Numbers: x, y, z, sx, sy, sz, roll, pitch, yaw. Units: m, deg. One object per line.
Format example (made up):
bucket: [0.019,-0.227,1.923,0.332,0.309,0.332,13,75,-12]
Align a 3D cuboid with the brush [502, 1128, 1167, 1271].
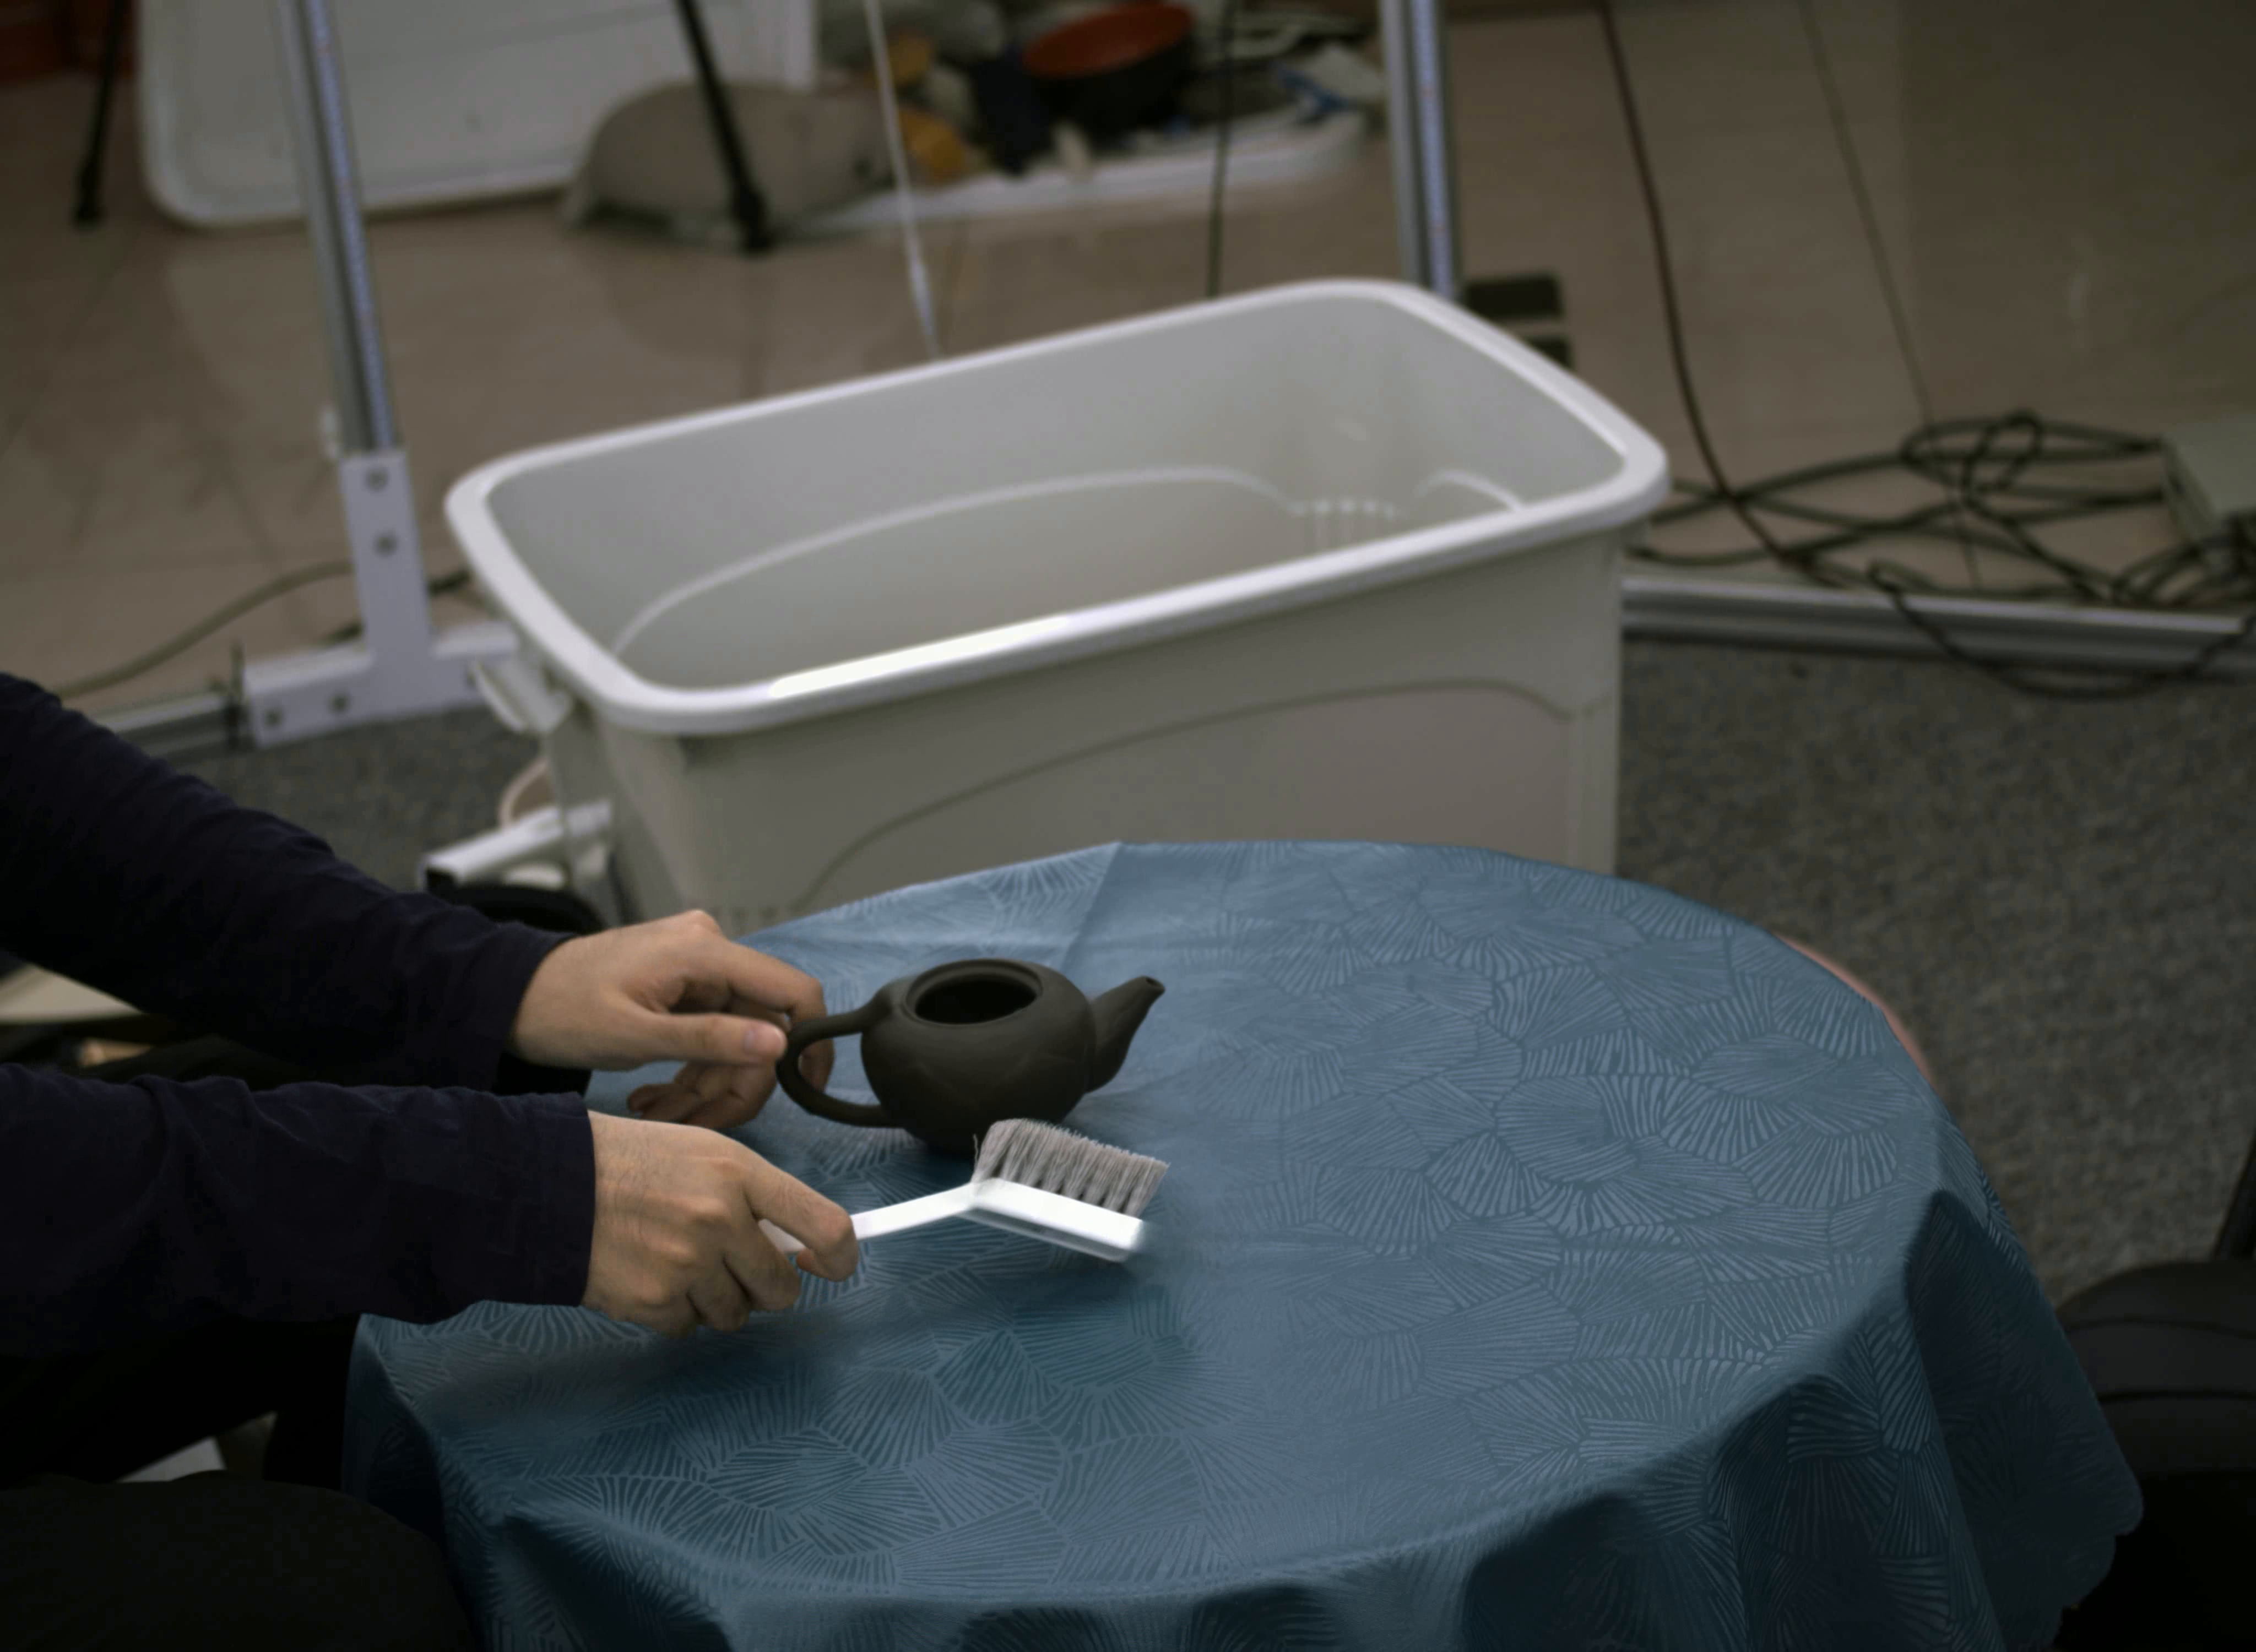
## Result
brush: [-0.107,0.137,2.075,0.243,0.050,0.034,-1,-5,-6]

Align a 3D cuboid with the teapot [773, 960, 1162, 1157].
teapot: [-0.061,0.089,2.197,0.154,0.065,0.091,-7,26,0]
